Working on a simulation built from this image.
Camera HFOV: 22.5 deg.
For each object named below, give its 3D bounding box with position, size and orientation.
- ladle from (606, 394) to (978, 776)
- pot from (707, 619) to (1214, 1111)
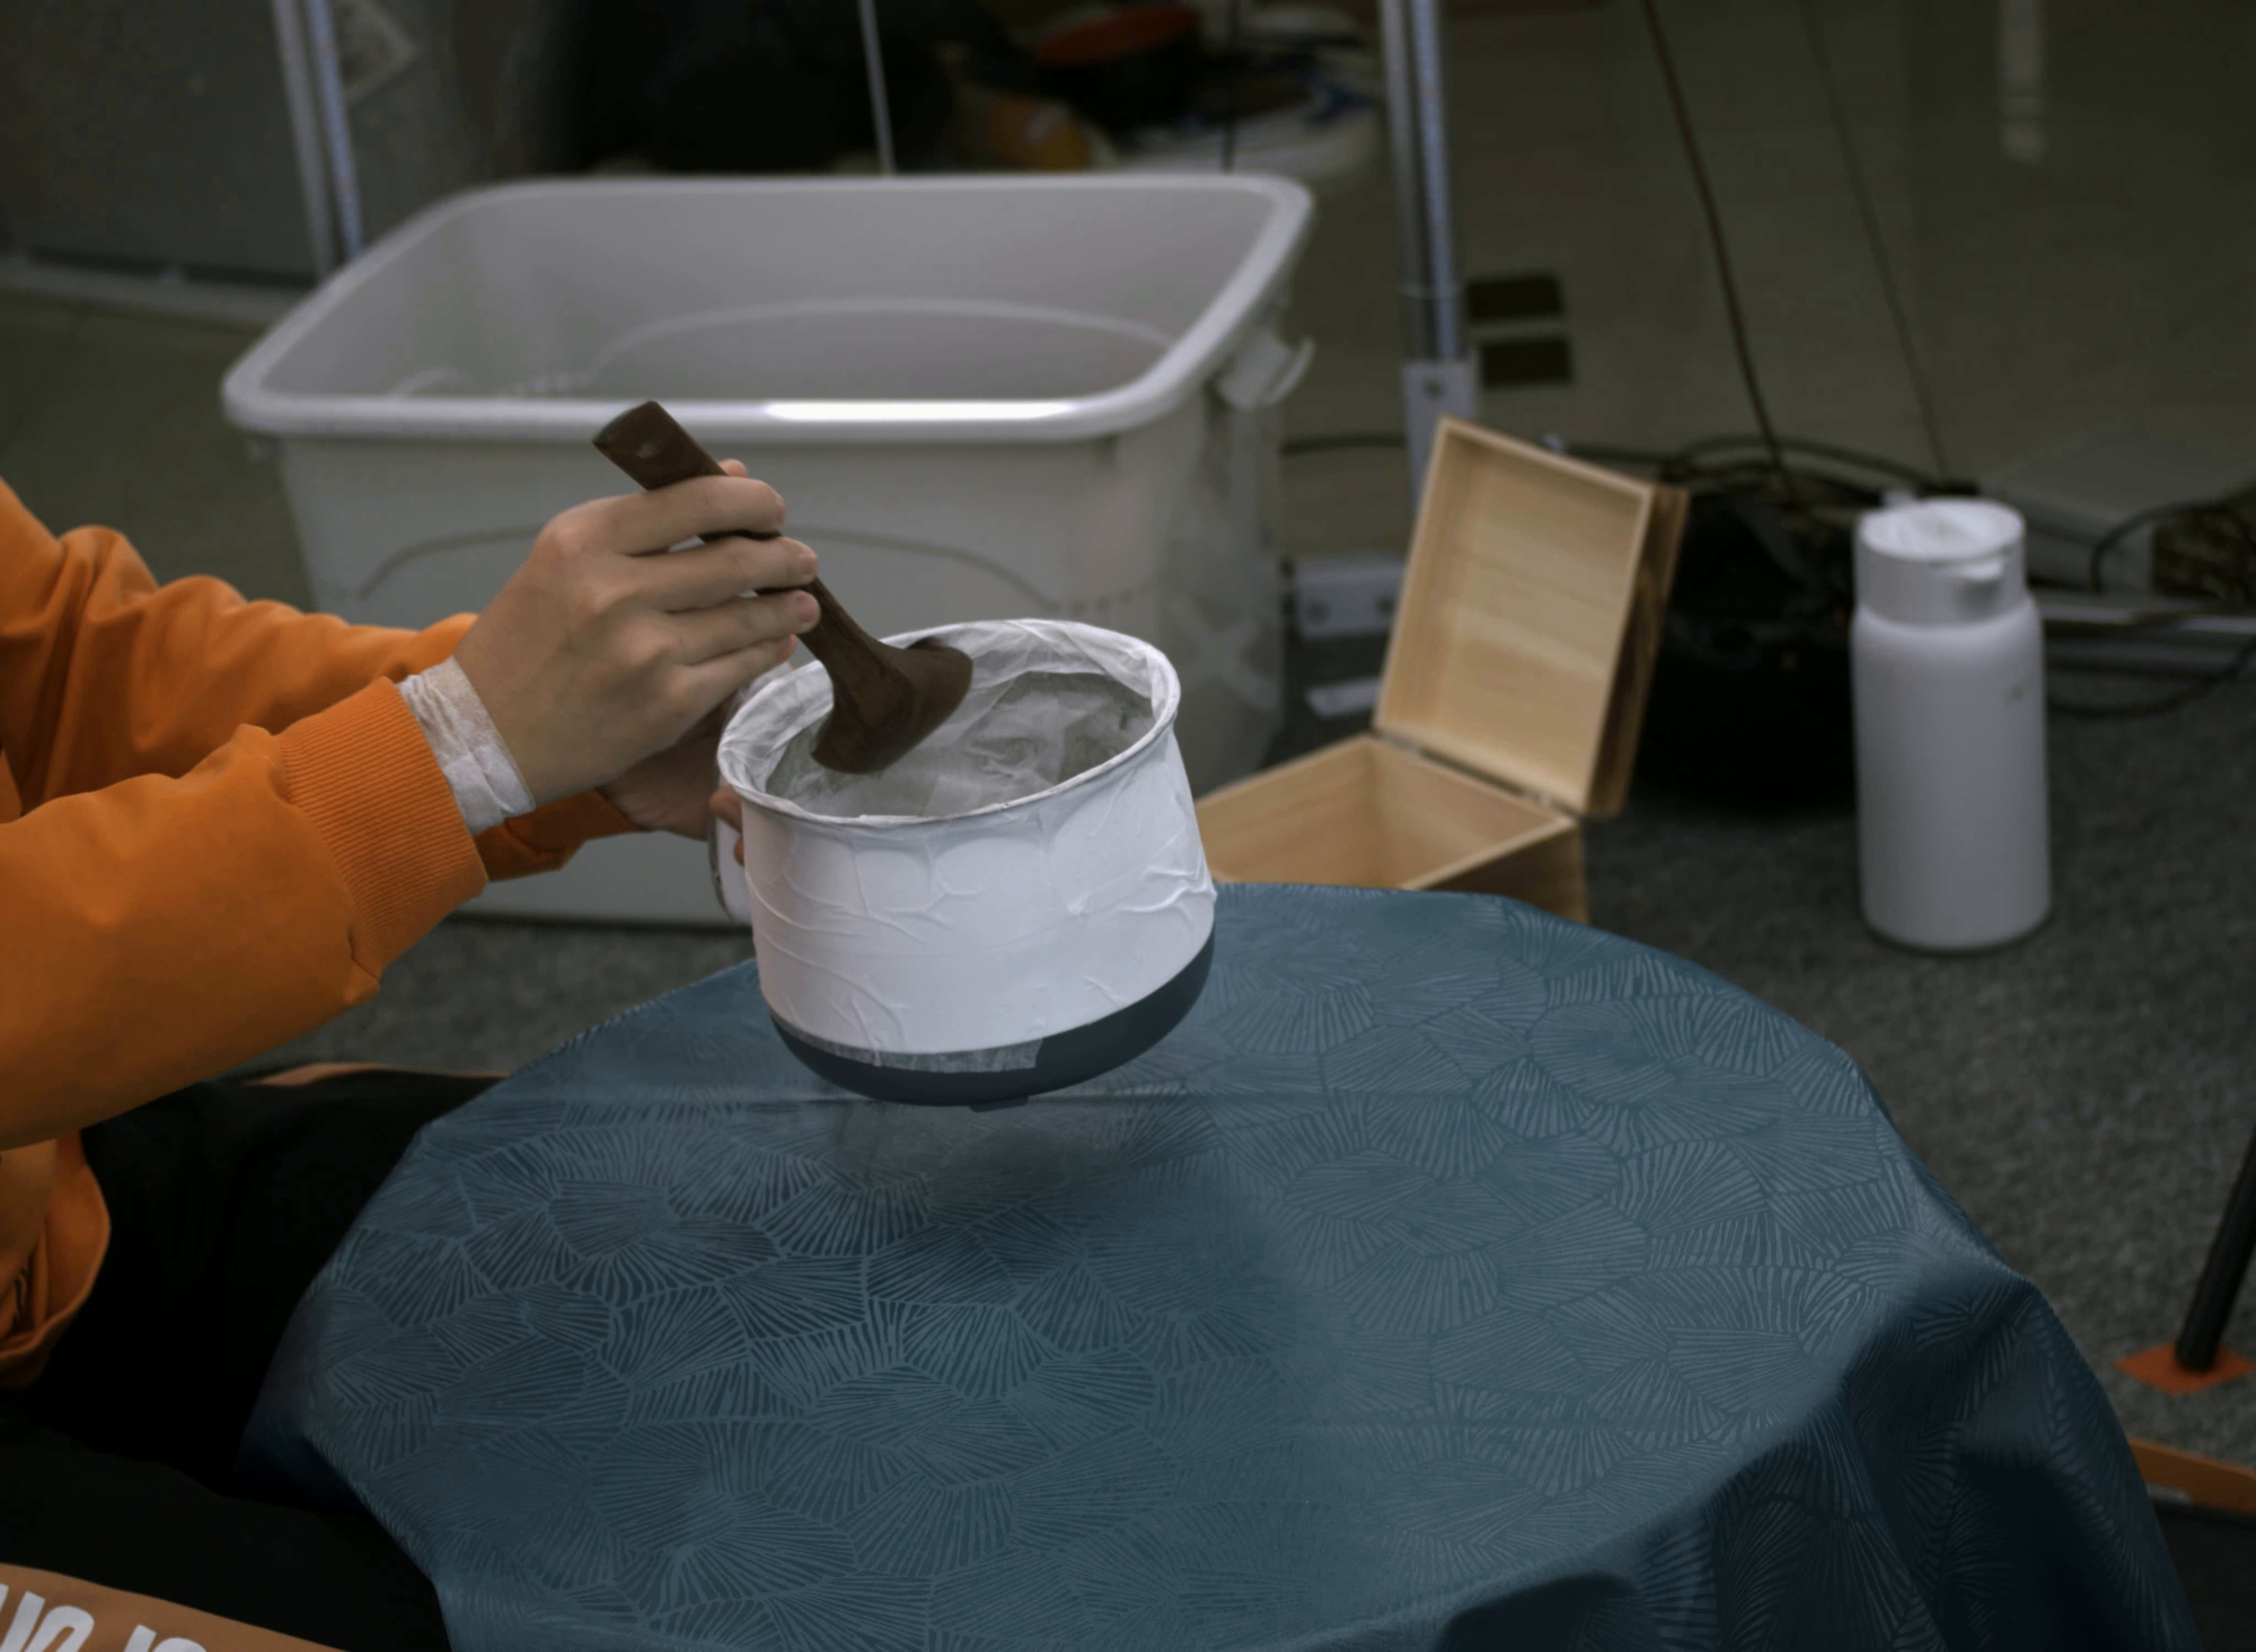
[{"bbox_3d":[-0.130,-0.097,2.040,0.076,0.278,0.070,-42,54,0],"label":"ladle"},{"bbox_3d":[-0.079,0.010,2.173,0.232,0.139,0.177,16,34,40],"label":"pot"}]
